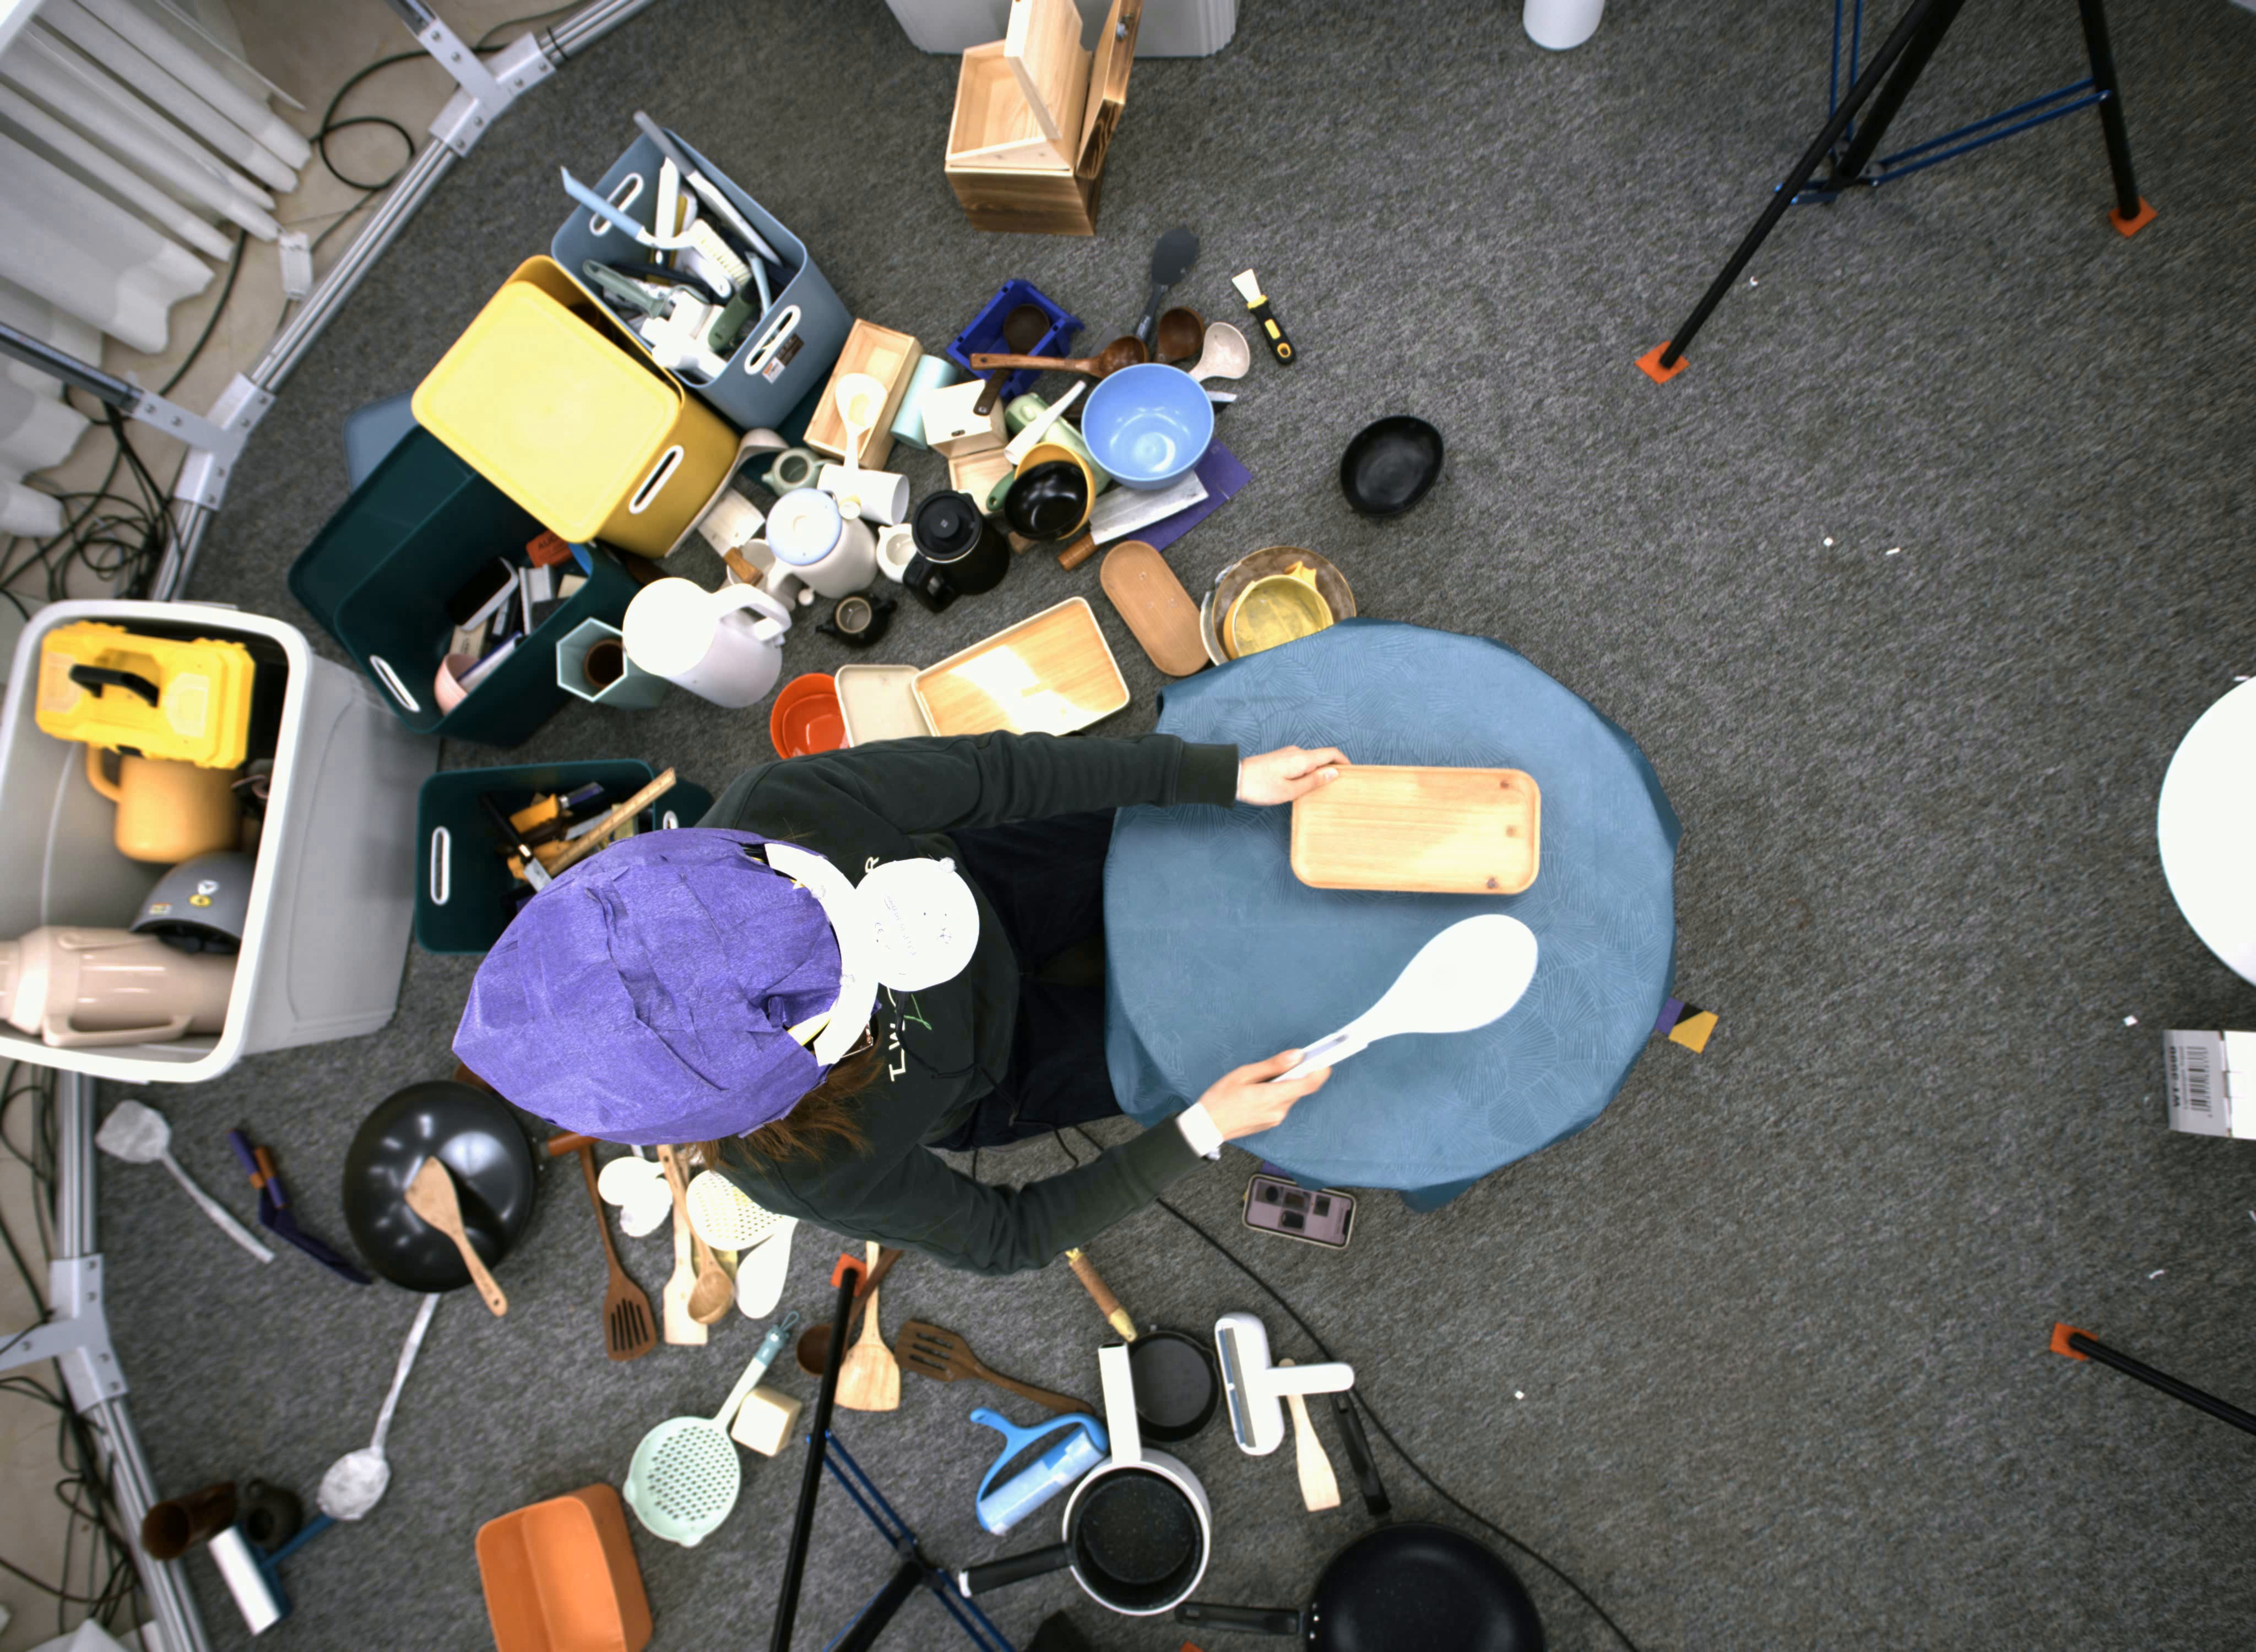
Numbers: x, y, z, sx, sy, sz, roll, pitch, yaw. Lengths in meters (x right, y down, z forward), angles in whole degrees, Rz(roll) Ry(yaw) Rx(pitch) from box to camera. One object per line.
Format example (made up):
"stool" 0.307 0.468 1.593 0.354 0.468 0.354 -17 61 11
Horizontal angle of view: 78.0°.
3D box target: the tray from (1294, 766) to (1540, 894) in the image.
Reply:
"tray" 0.295 0.003 1.411 0.251 0.023 0.130 1 87 5

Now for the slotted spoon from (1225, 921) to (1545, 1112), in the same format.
"slotted spoon" 0.244 0.195 1.341 0.354 0.132 0.046 -26 120 18
